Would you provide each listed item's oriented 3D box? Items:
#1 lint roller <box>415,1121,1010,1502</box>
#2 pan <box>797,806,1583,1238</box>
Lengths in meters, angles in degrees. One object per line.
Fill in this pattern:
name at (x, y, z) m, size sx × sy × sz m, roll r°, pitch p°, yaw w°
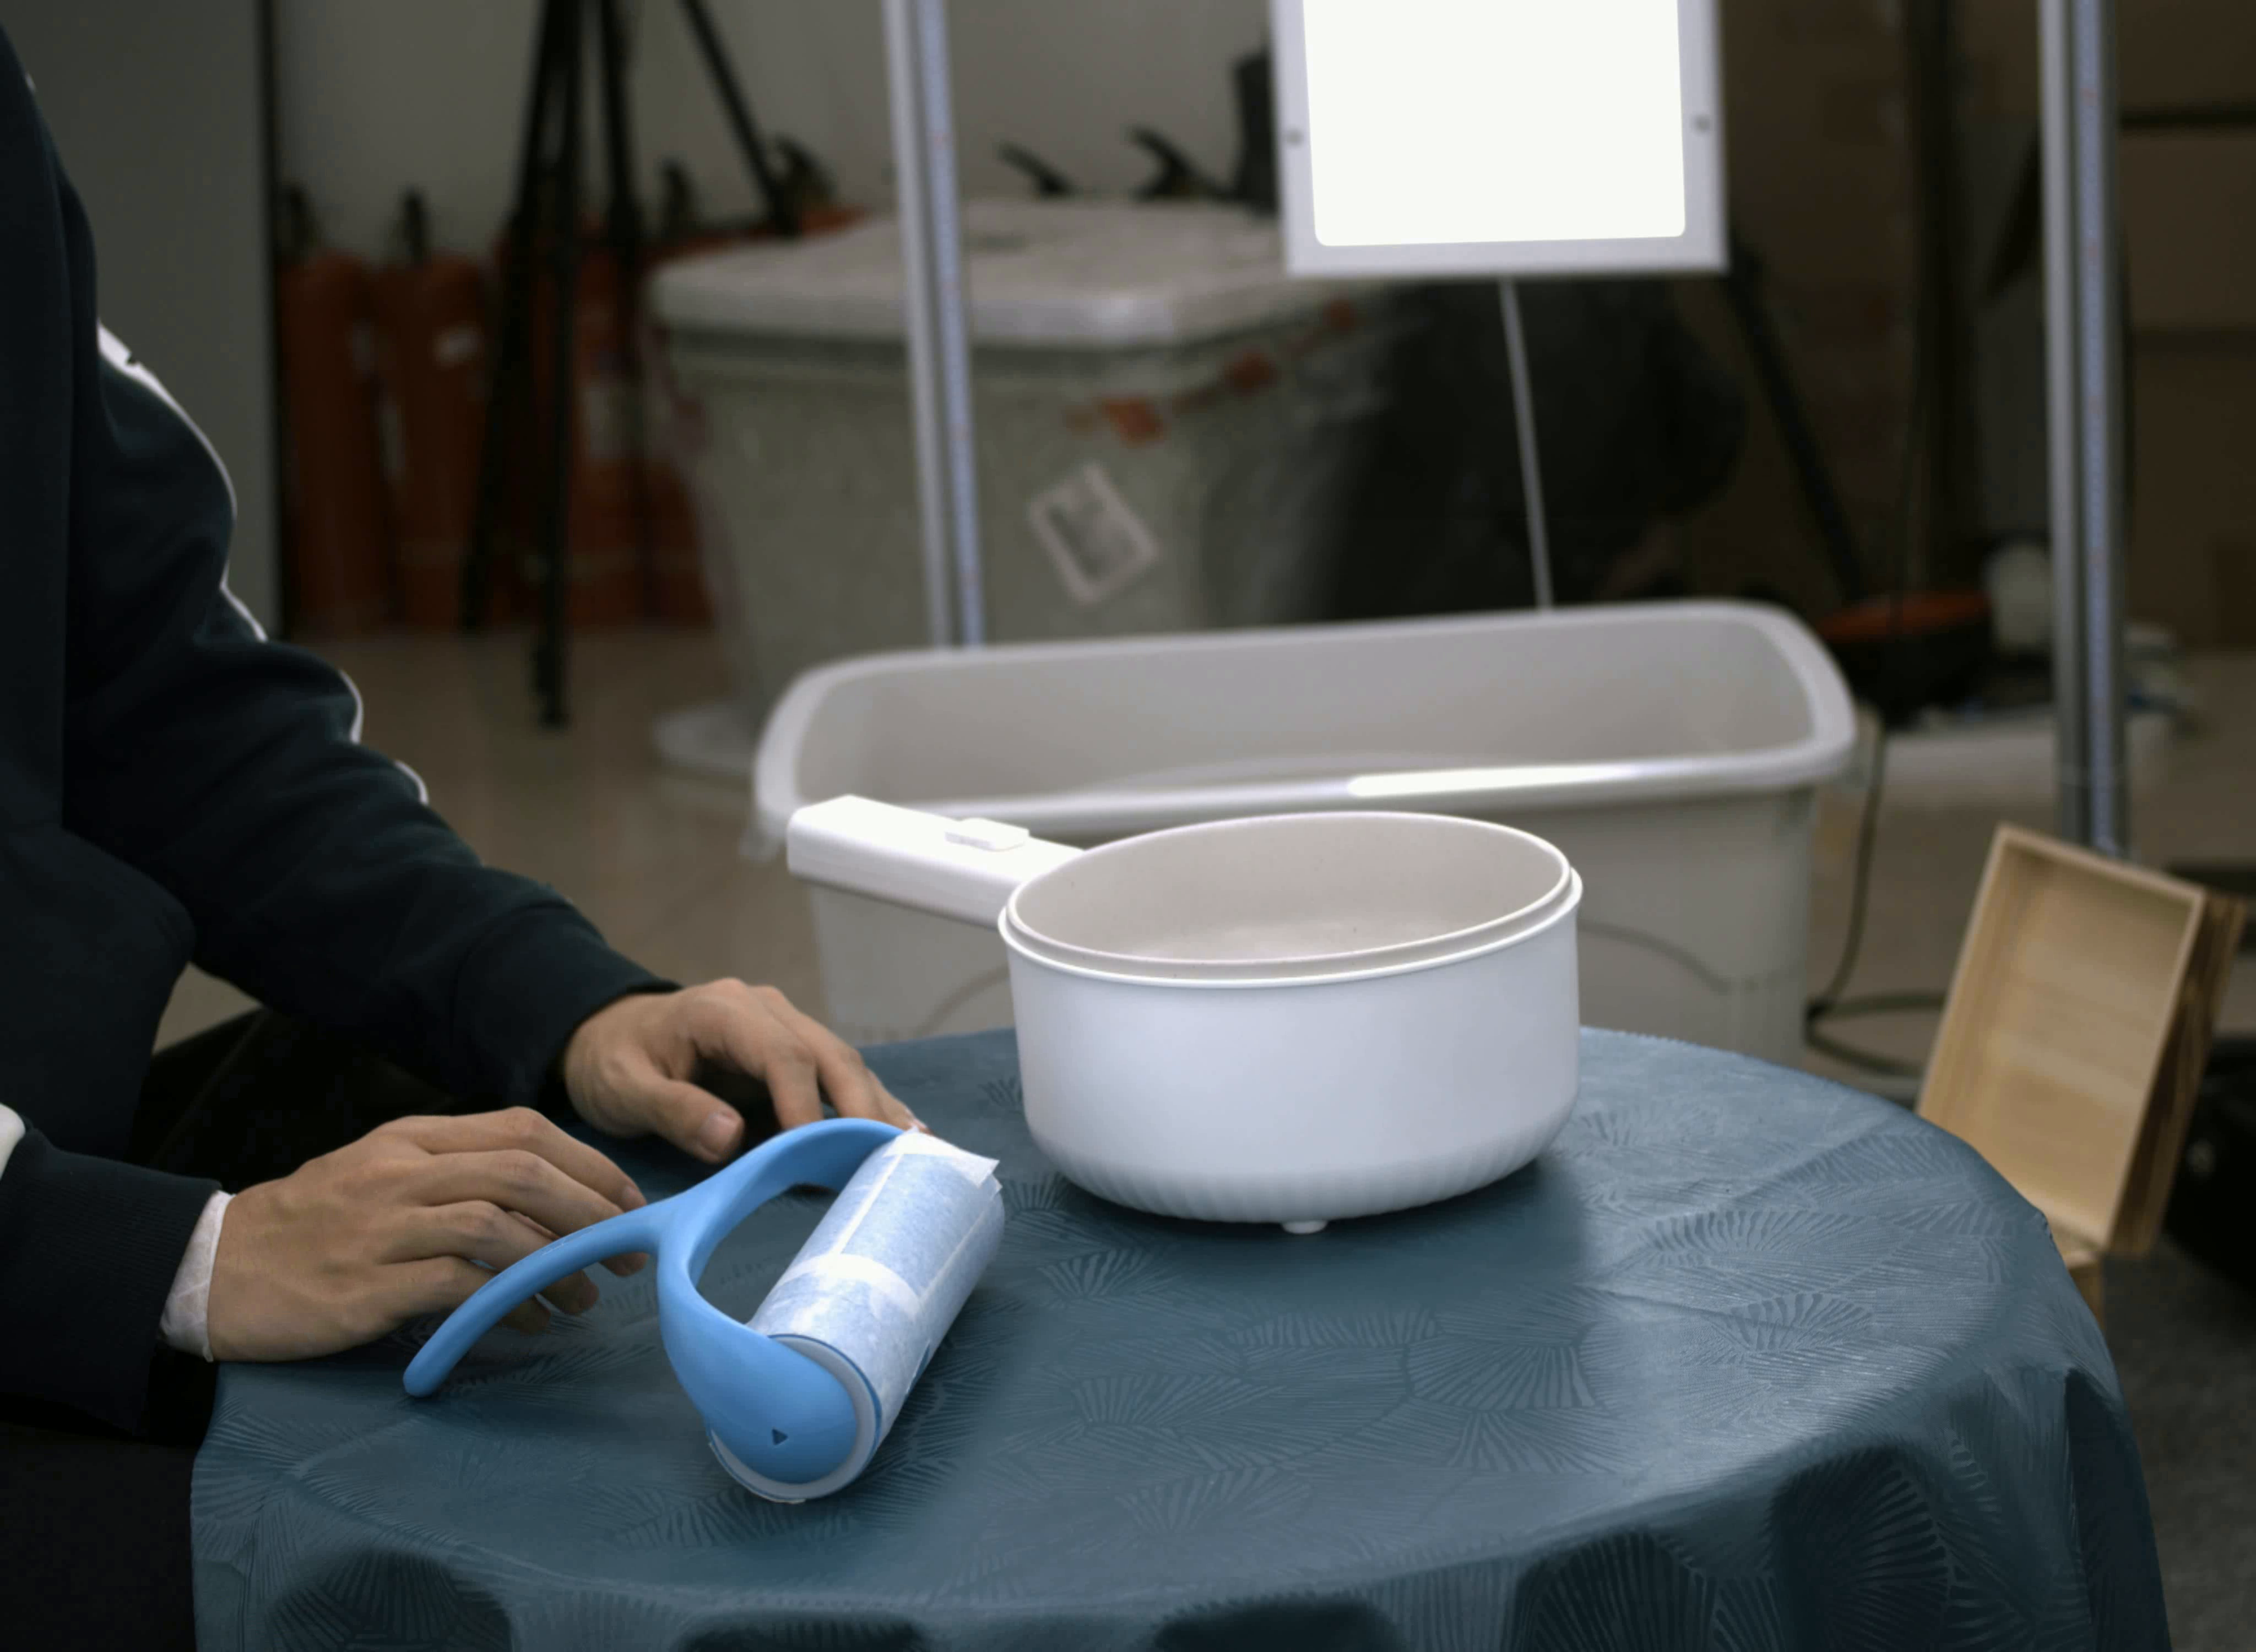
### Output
lint roller at (-0.139, 0.151, 1.726) m, size 0.181 × 0.068 × 0.227 m, roll -2°, pitch 16°, yaw 9°
pan at (0.008, 0.061, 1.955) m, size 0.196 × 0.102 × 0.362 m, roll -18°, pitch 18°, yaw -38°
